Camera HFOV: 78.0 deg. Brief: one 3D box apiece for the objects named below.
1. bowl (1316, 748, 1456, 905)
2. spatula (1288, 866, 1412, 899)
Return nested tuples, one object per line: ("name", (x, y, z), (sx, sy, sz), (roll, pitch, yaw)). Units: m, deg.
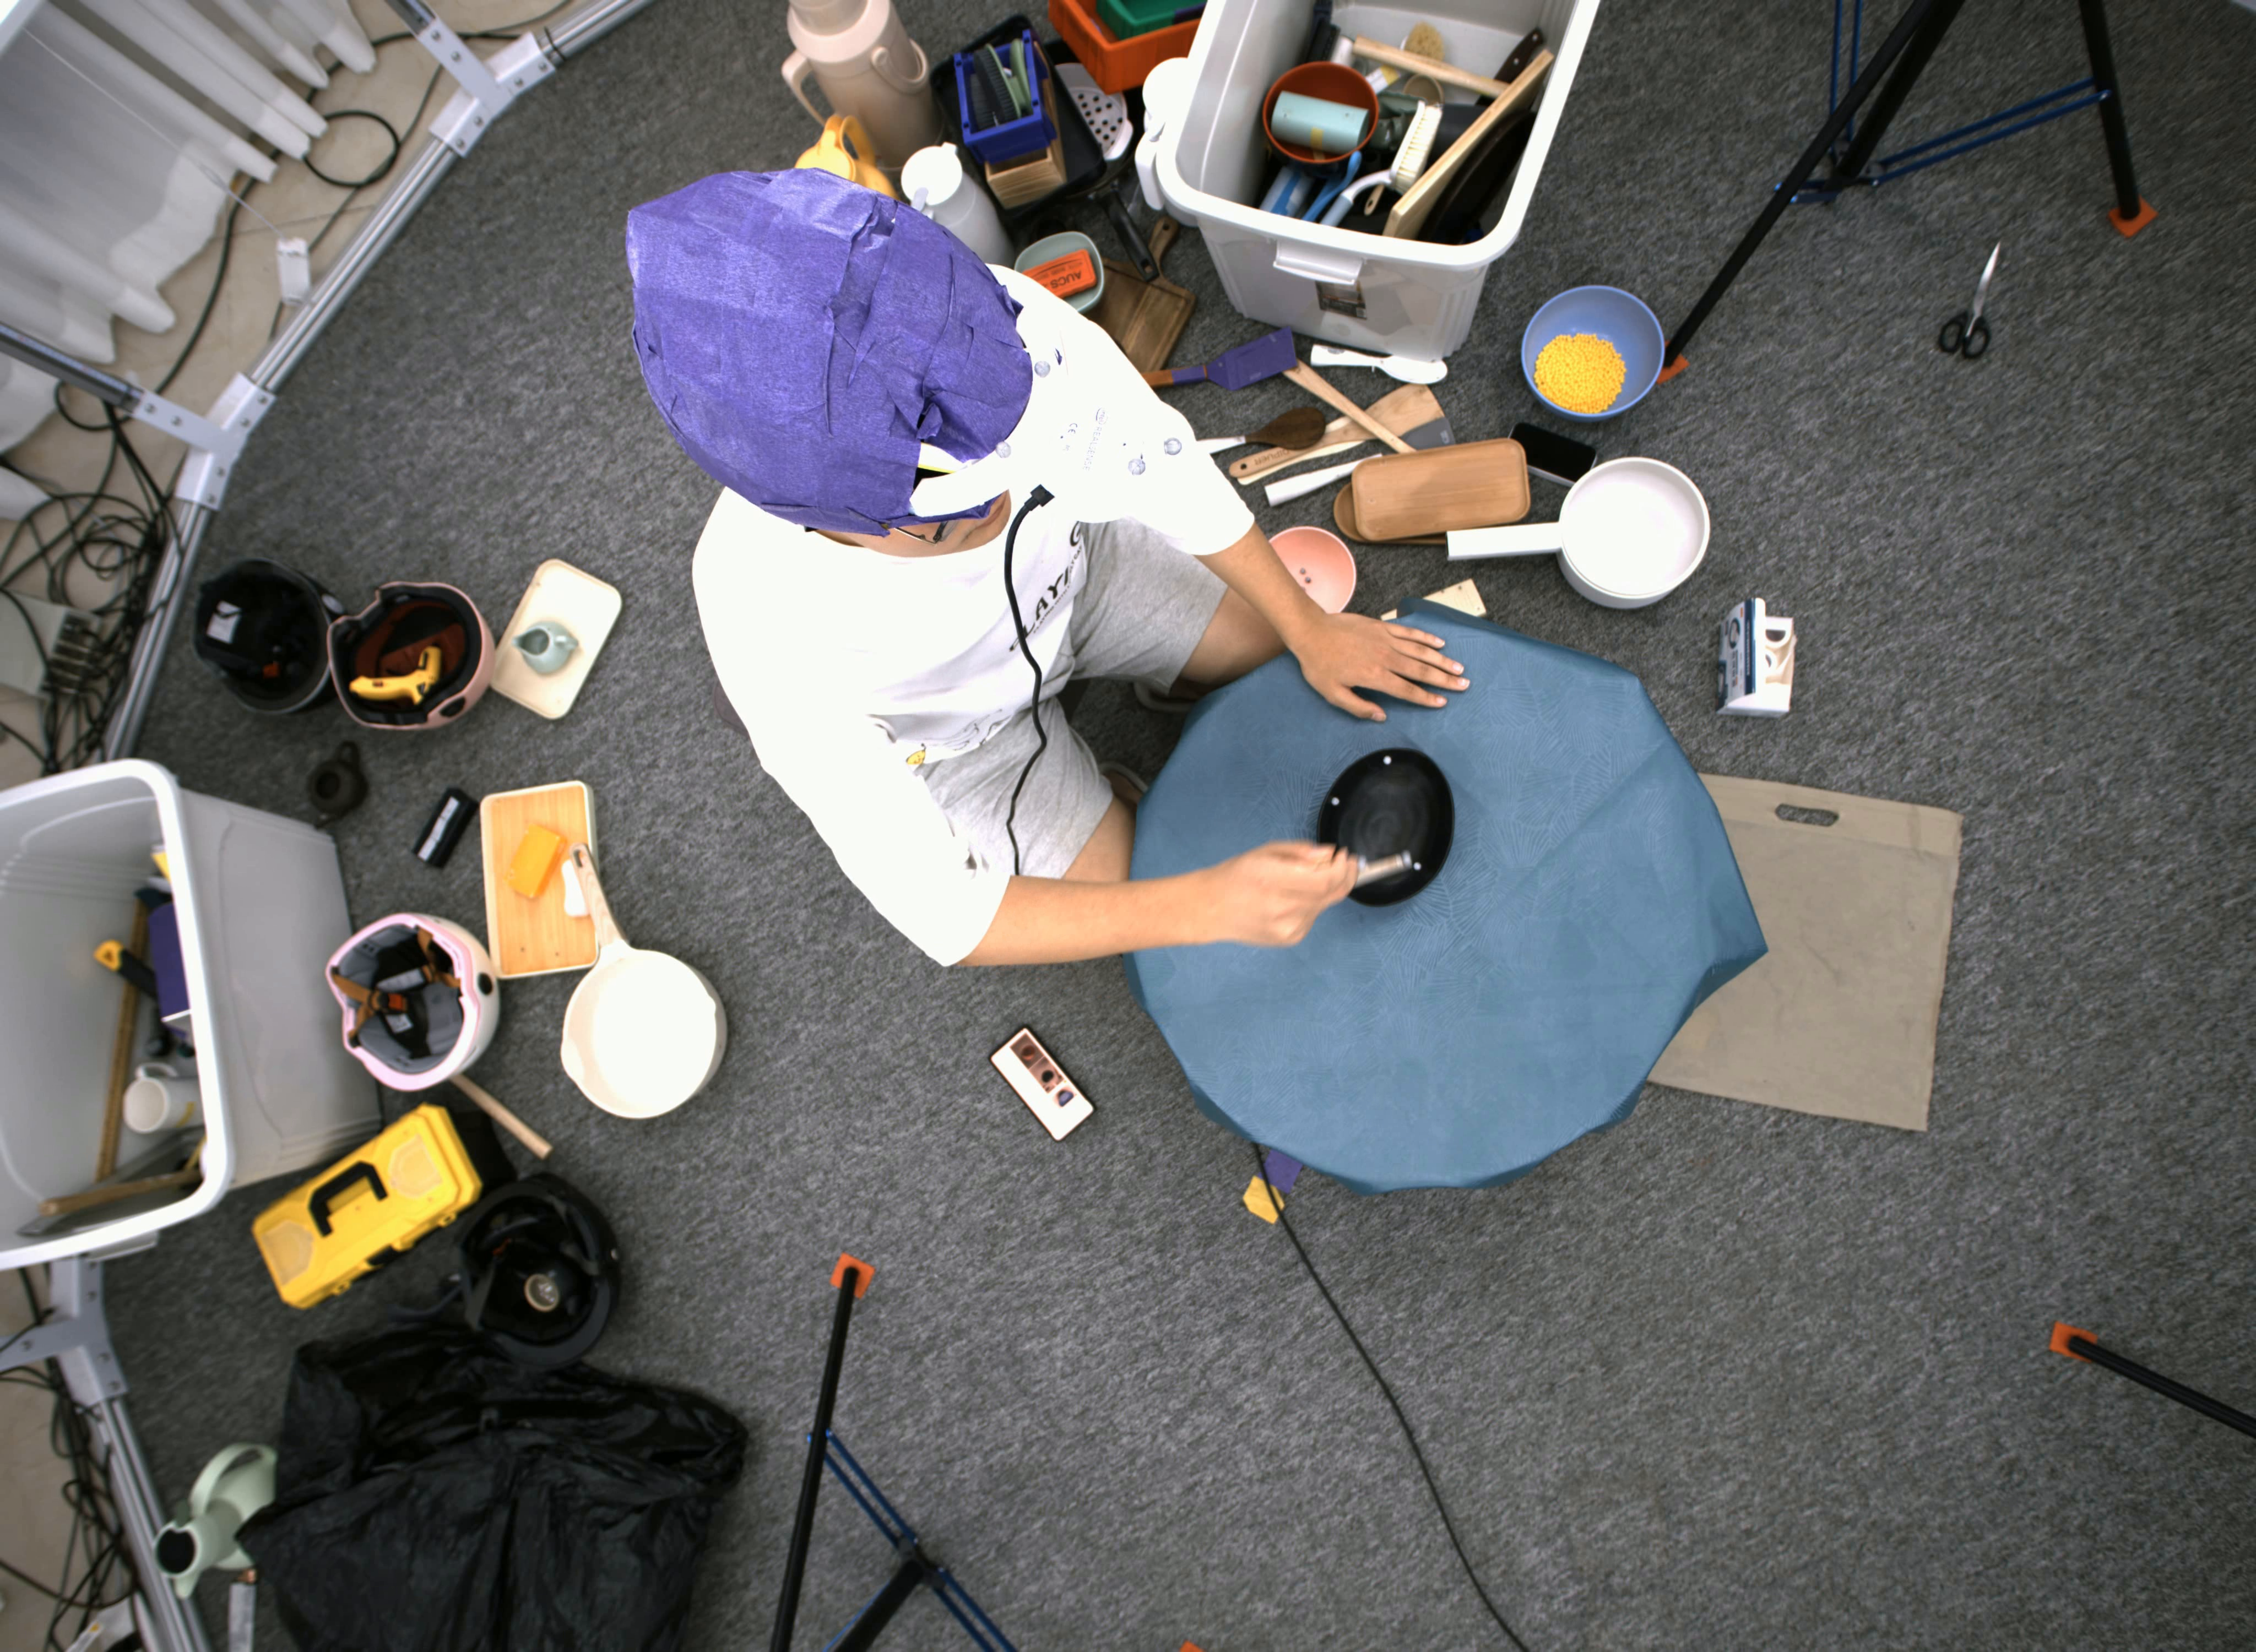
("bowl", (0.268, 0.000, 1.432), (0.137, 0.067, 0.170), (18, 88, 12))
("spatula", (0.187, 0.045, 1.184), (0.073, 0.292, 0.010), (-20, 79, 19))
